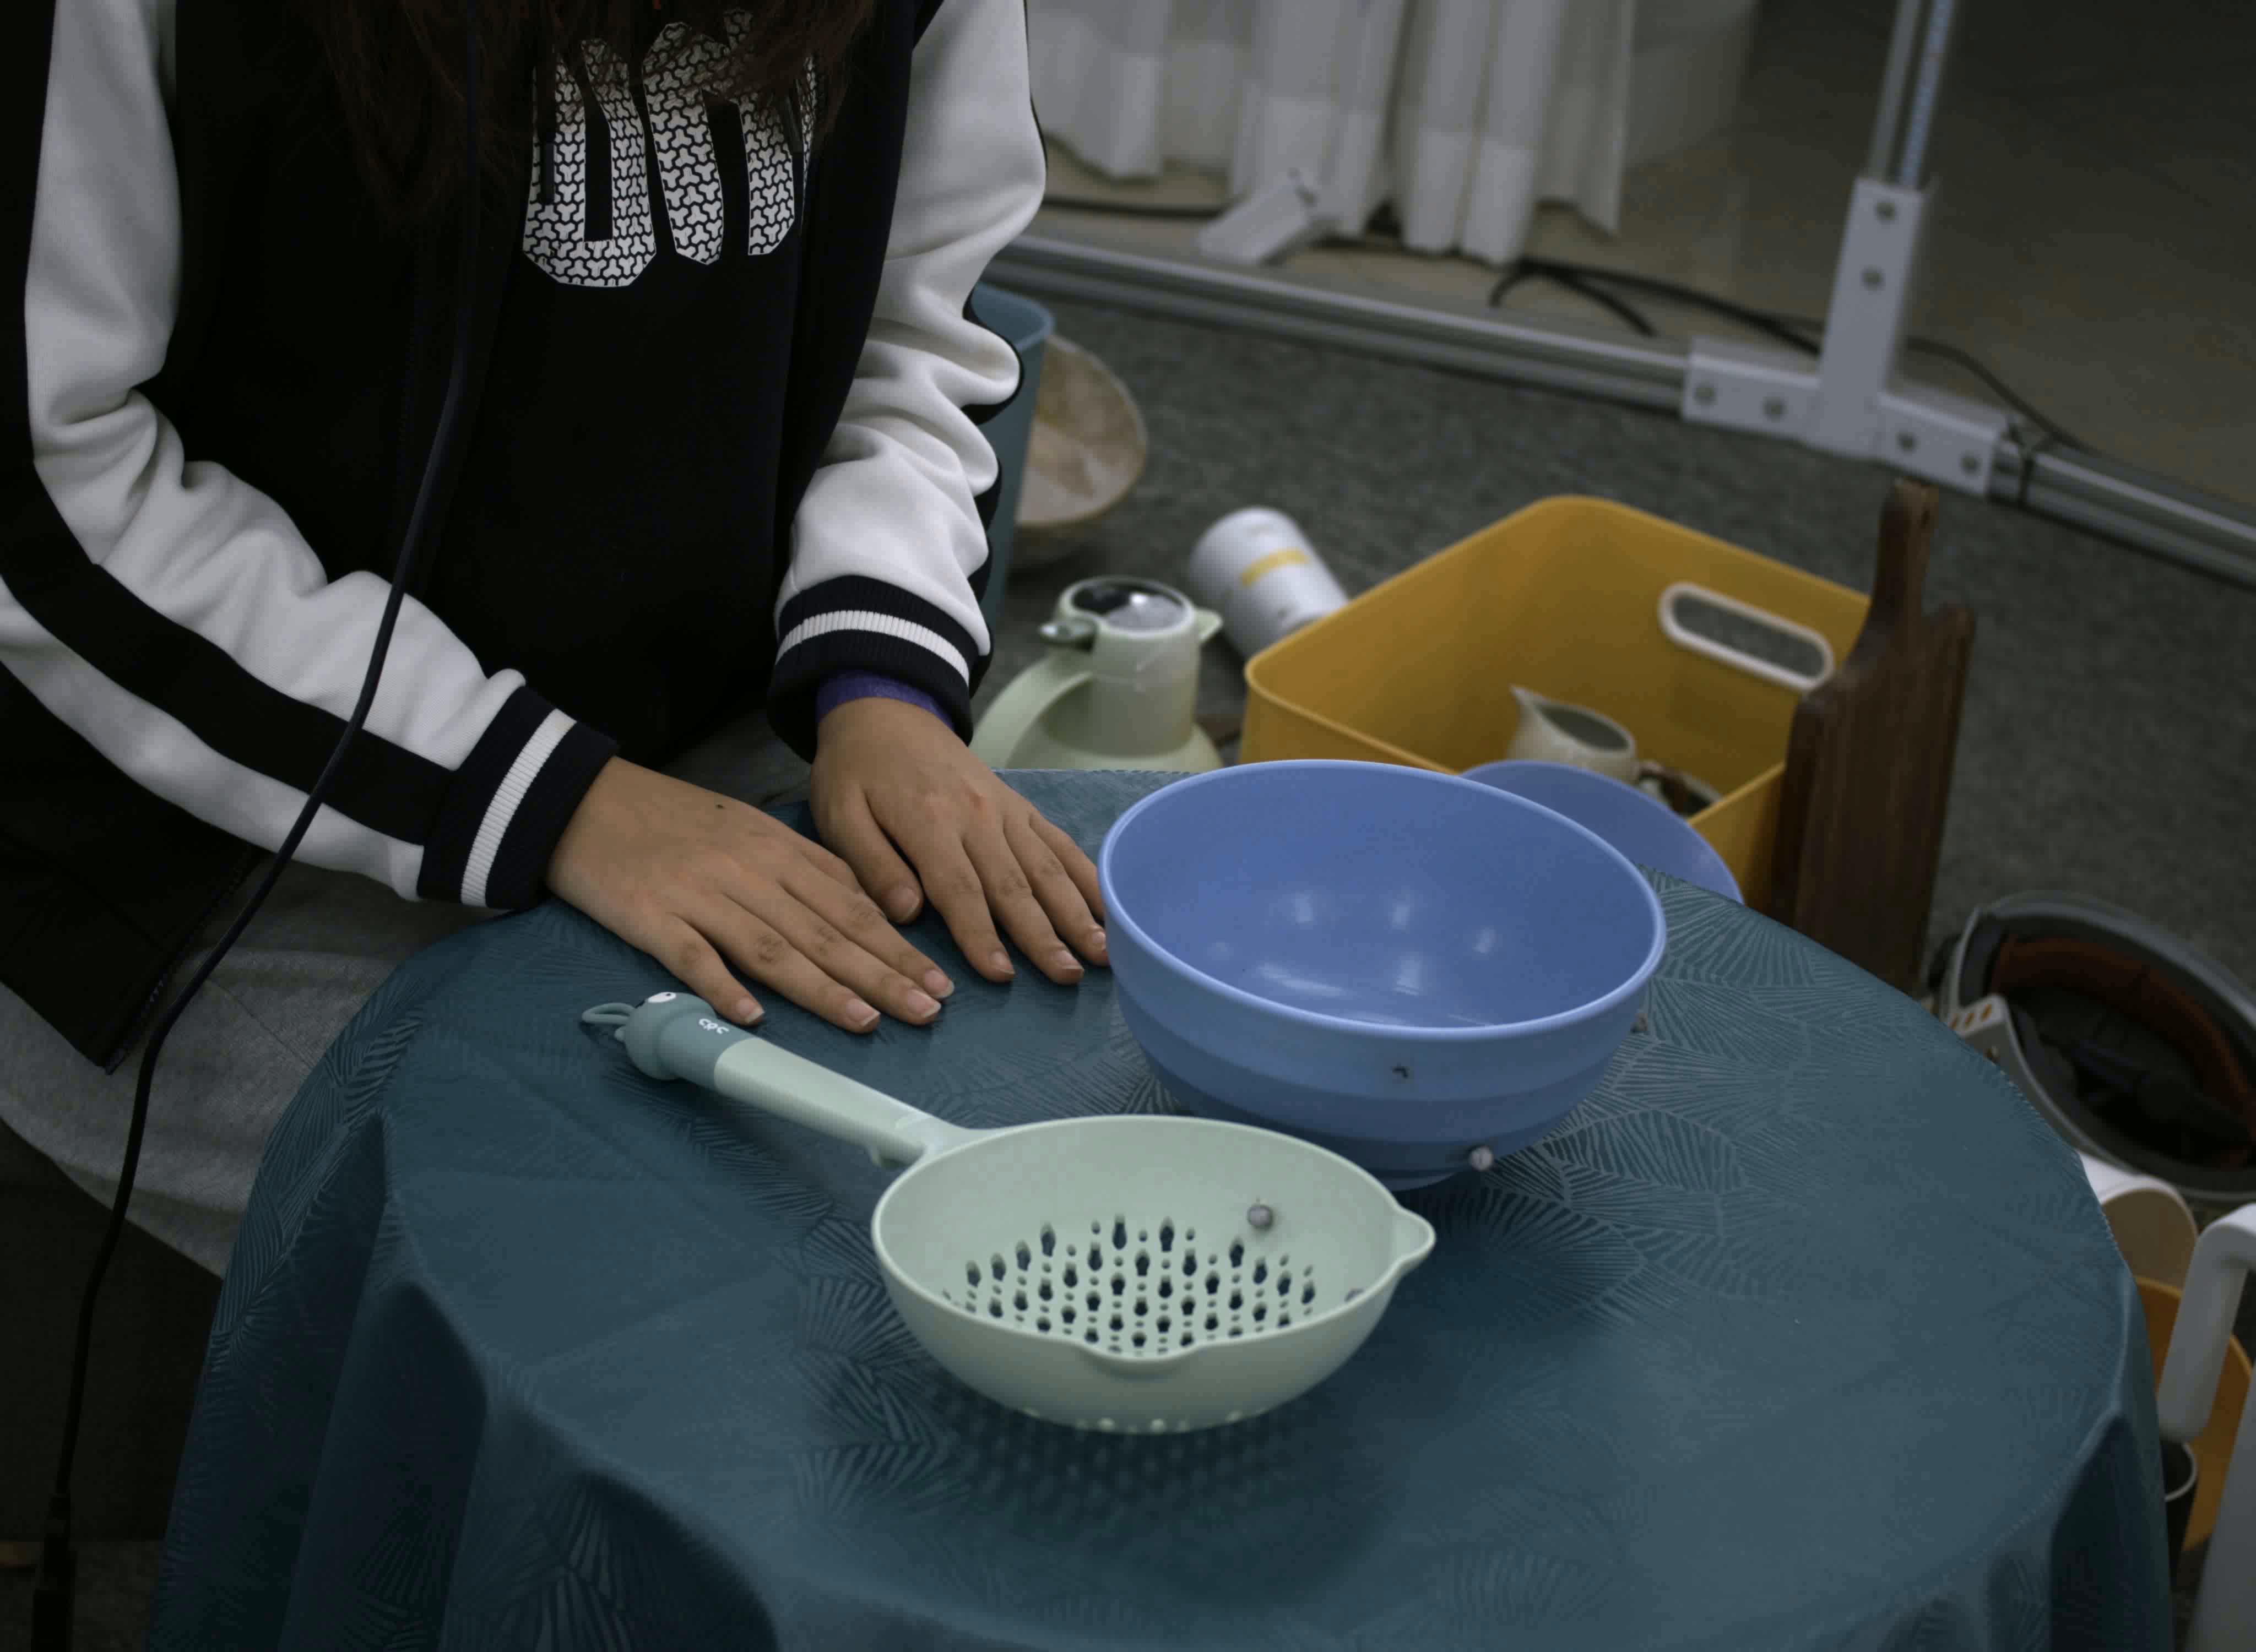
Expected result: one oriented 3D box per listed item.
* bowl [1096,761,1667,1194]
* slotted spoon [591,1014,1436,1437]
[{"bbox_3d":[0.082,0.063,1.835,0.196,0.095,0.198,5,27,-3],"label":"bowl"},{"bbox_3d":[-0.063,0.114,1.744,0.168,0.075,0.362,-17,33,-40],"label":"slotted spoon"}]
